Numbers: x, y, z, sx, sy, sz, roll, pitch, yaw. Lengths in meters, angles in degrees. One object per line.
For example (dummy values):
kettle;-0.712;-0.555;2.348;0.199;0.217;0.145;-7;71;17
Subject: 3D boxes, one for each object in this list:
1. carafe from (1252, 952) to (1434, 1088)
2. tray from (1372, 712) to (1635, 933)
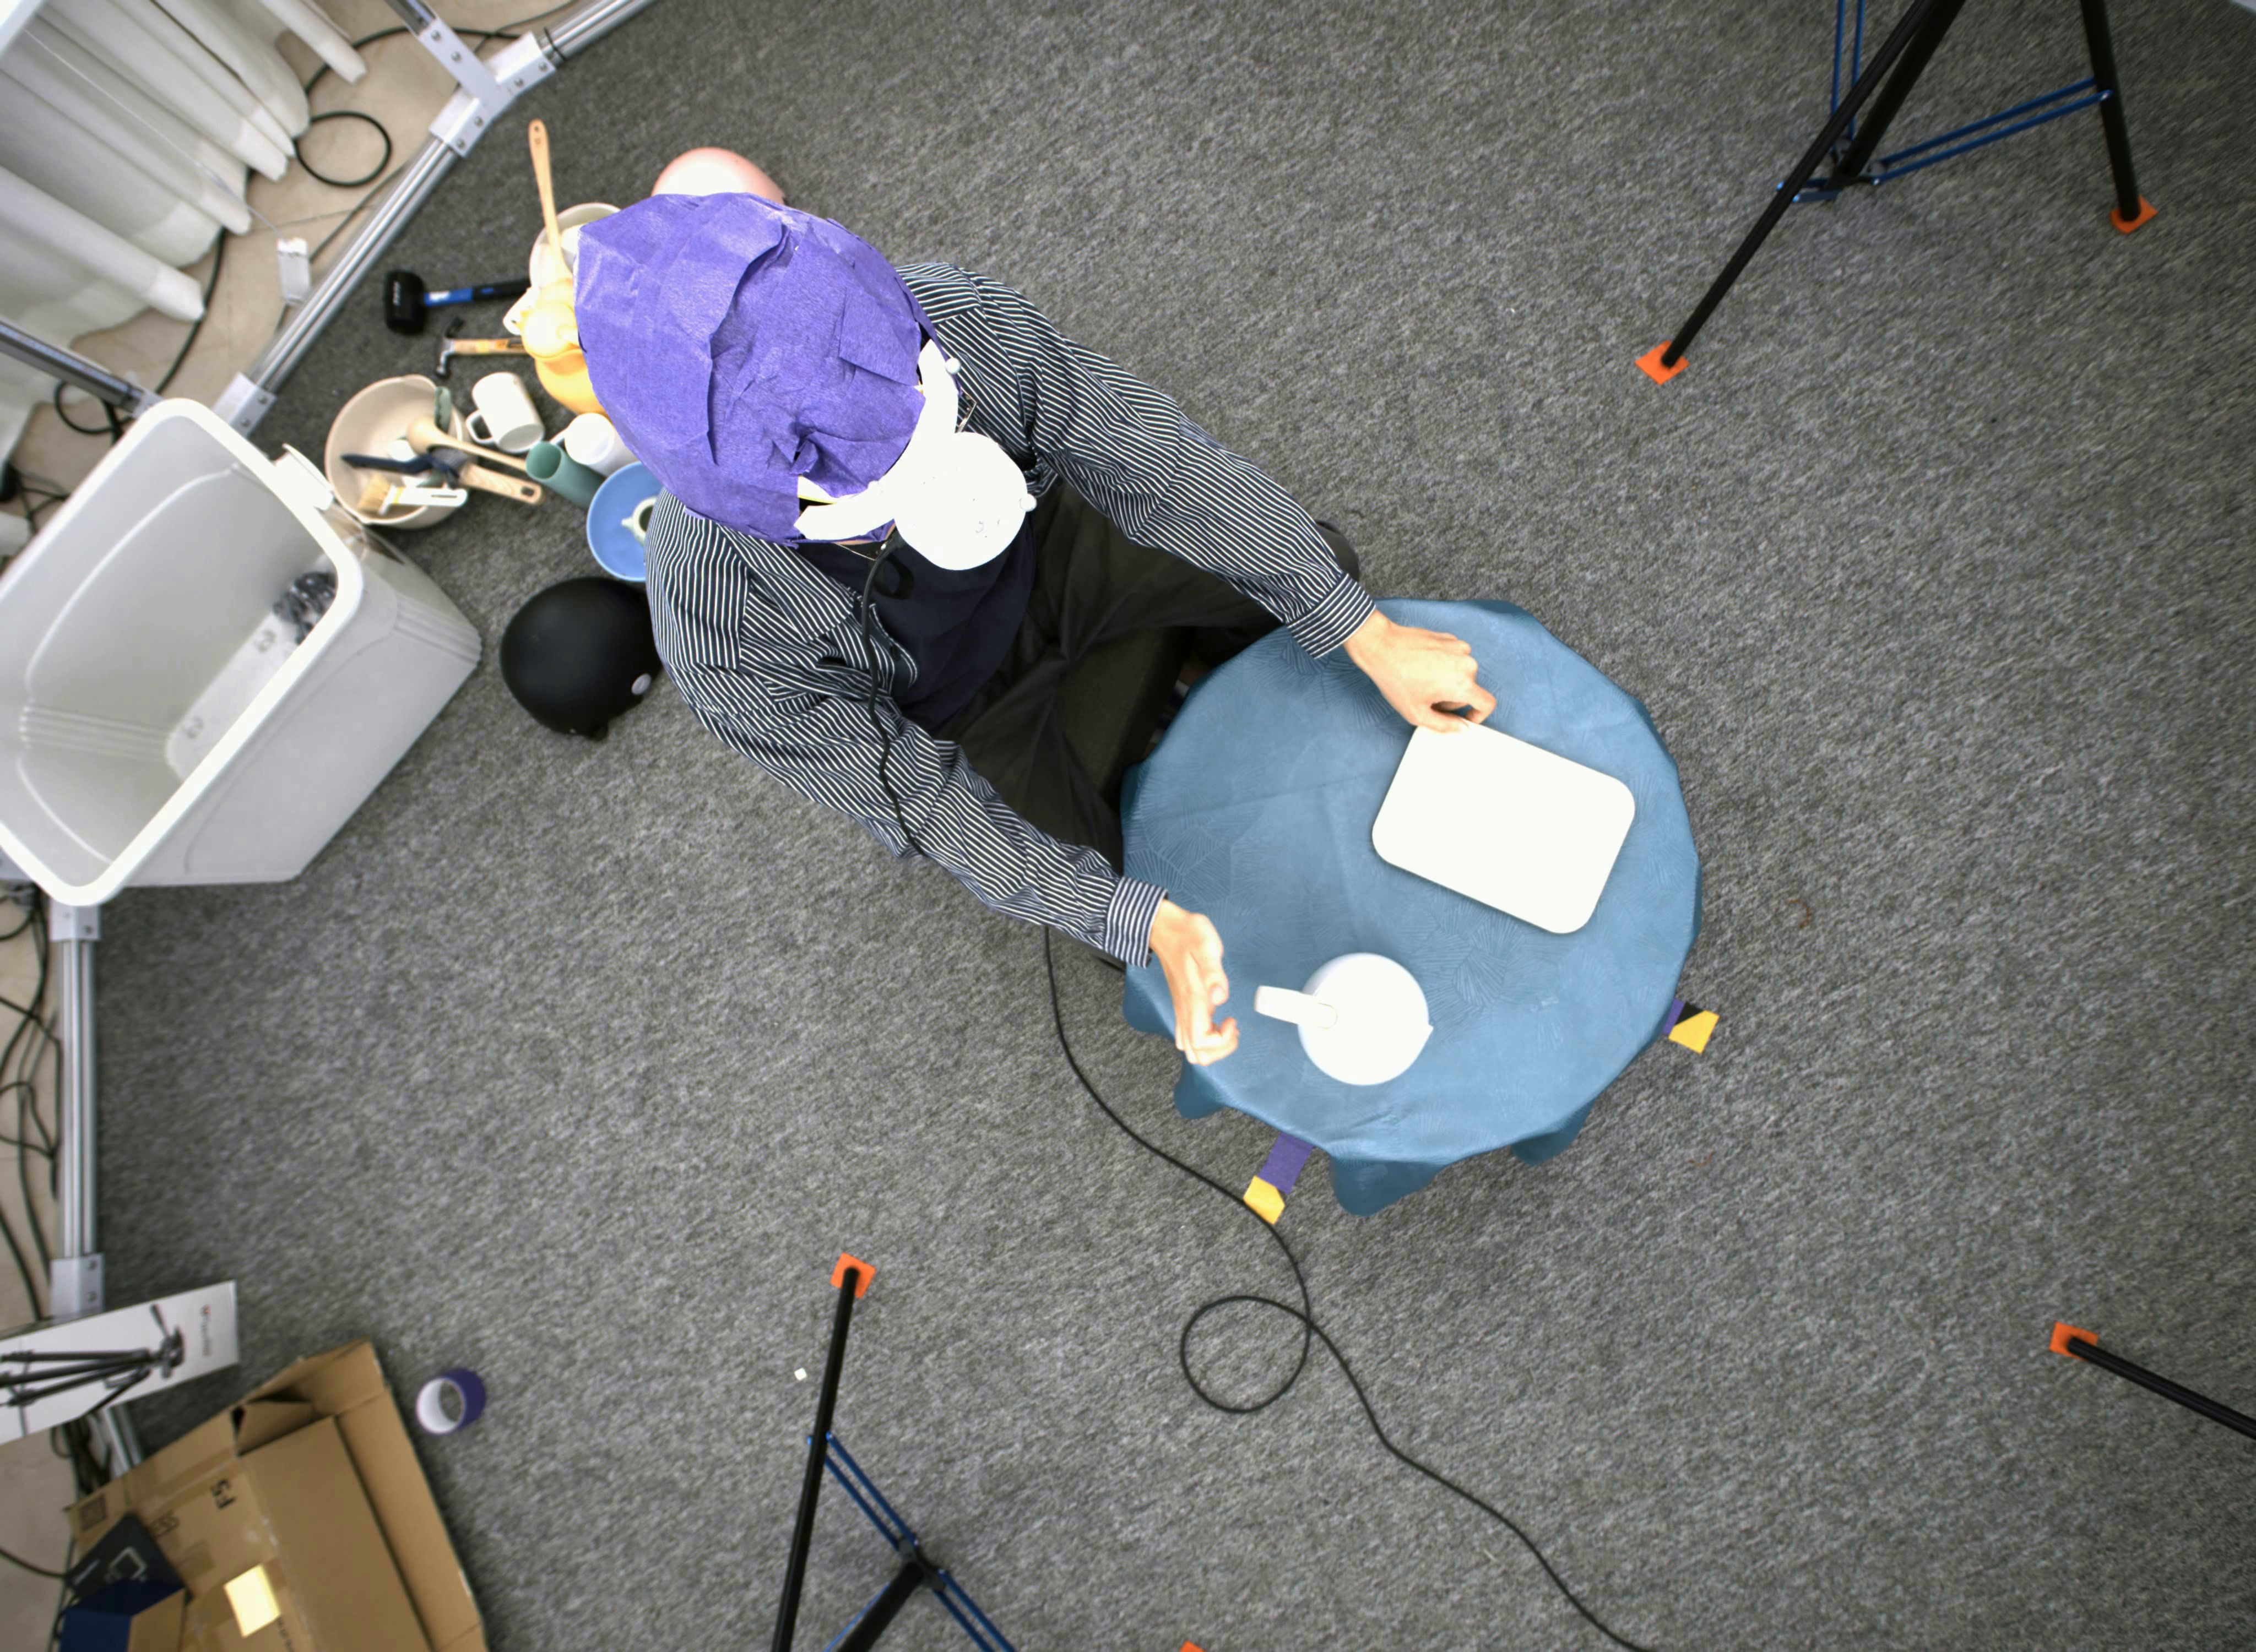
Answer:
carafe;0.205;0.185;1.328;0.168;0.248;0.132;6;88;11
tray;0.386;-0.007;1.420;0.239;0.017;0.171;23;93;10
